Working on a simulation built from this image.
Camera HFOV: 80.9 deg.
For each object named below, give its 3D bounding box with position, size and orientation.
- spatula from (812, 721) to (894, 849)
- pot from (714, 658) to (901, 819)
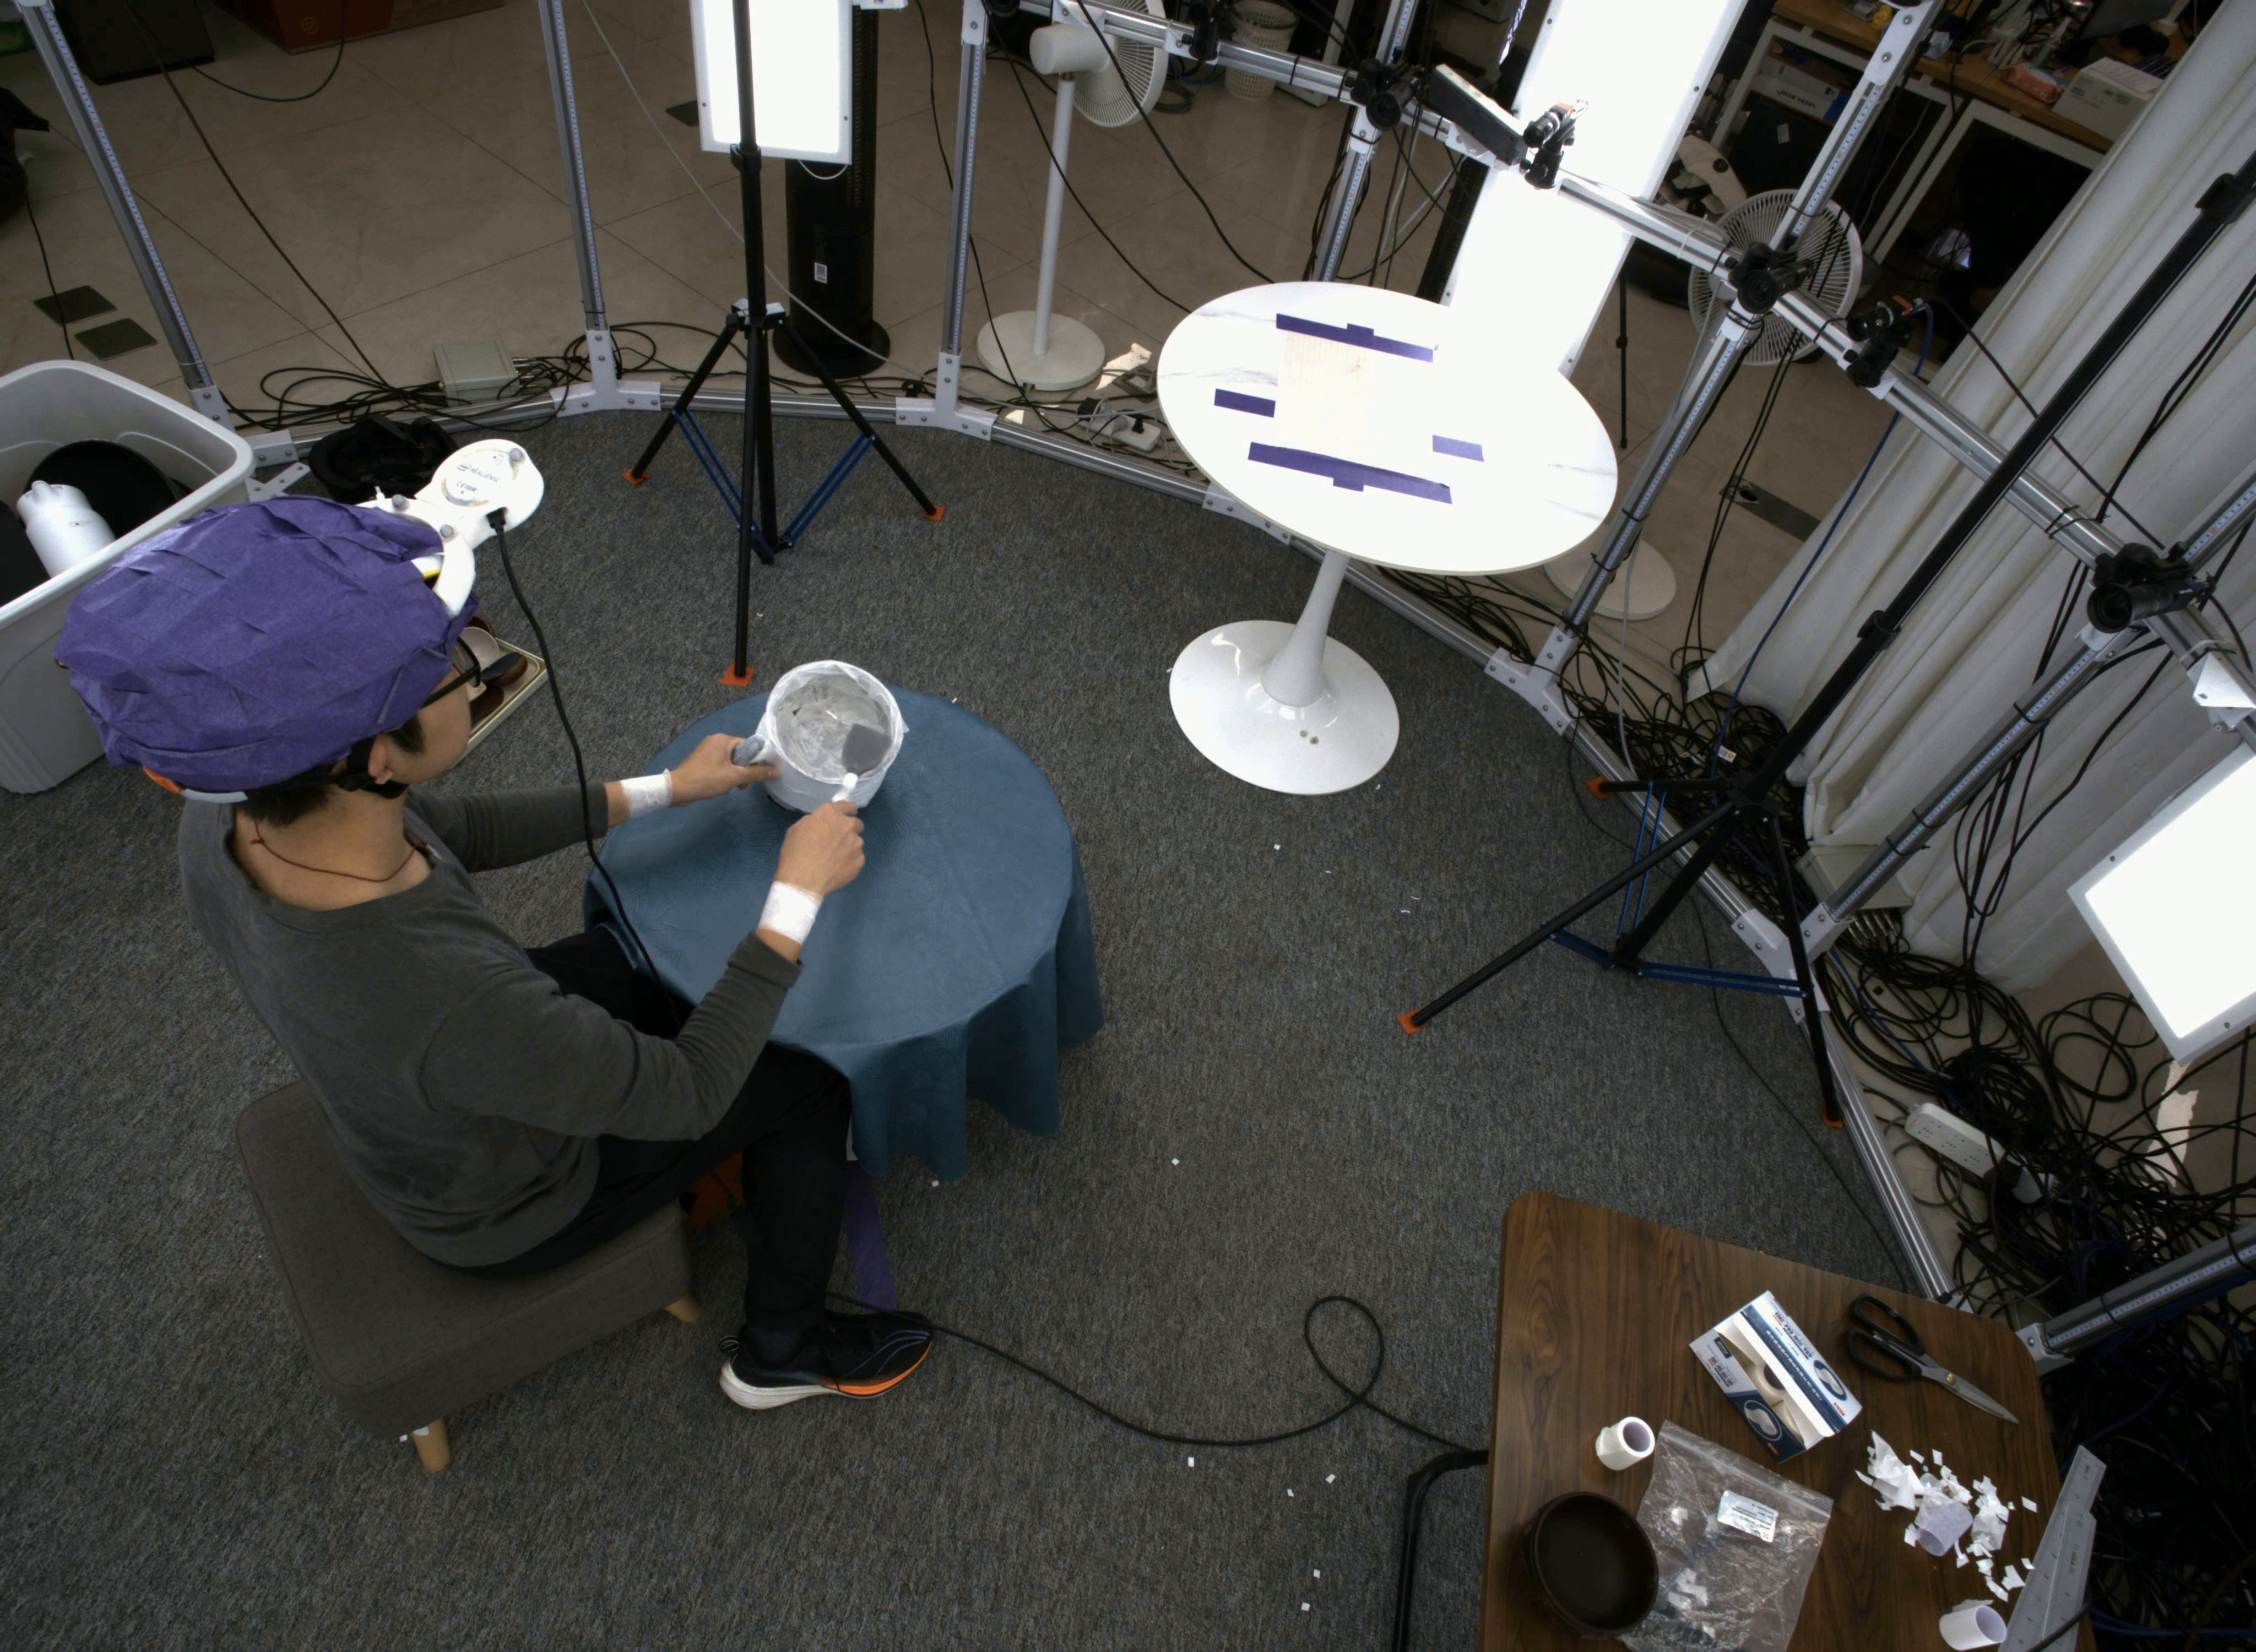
[{"bbox_3d":[-0.333,-0.055,1.556,0.059,0.033,0.282,20,26,-10],"label":"spatula"},{"bbox_3d":[-0.424,-0.102,1.698,0.235,0.136,0.178,-20,77,-31],"label":"pot"}]
